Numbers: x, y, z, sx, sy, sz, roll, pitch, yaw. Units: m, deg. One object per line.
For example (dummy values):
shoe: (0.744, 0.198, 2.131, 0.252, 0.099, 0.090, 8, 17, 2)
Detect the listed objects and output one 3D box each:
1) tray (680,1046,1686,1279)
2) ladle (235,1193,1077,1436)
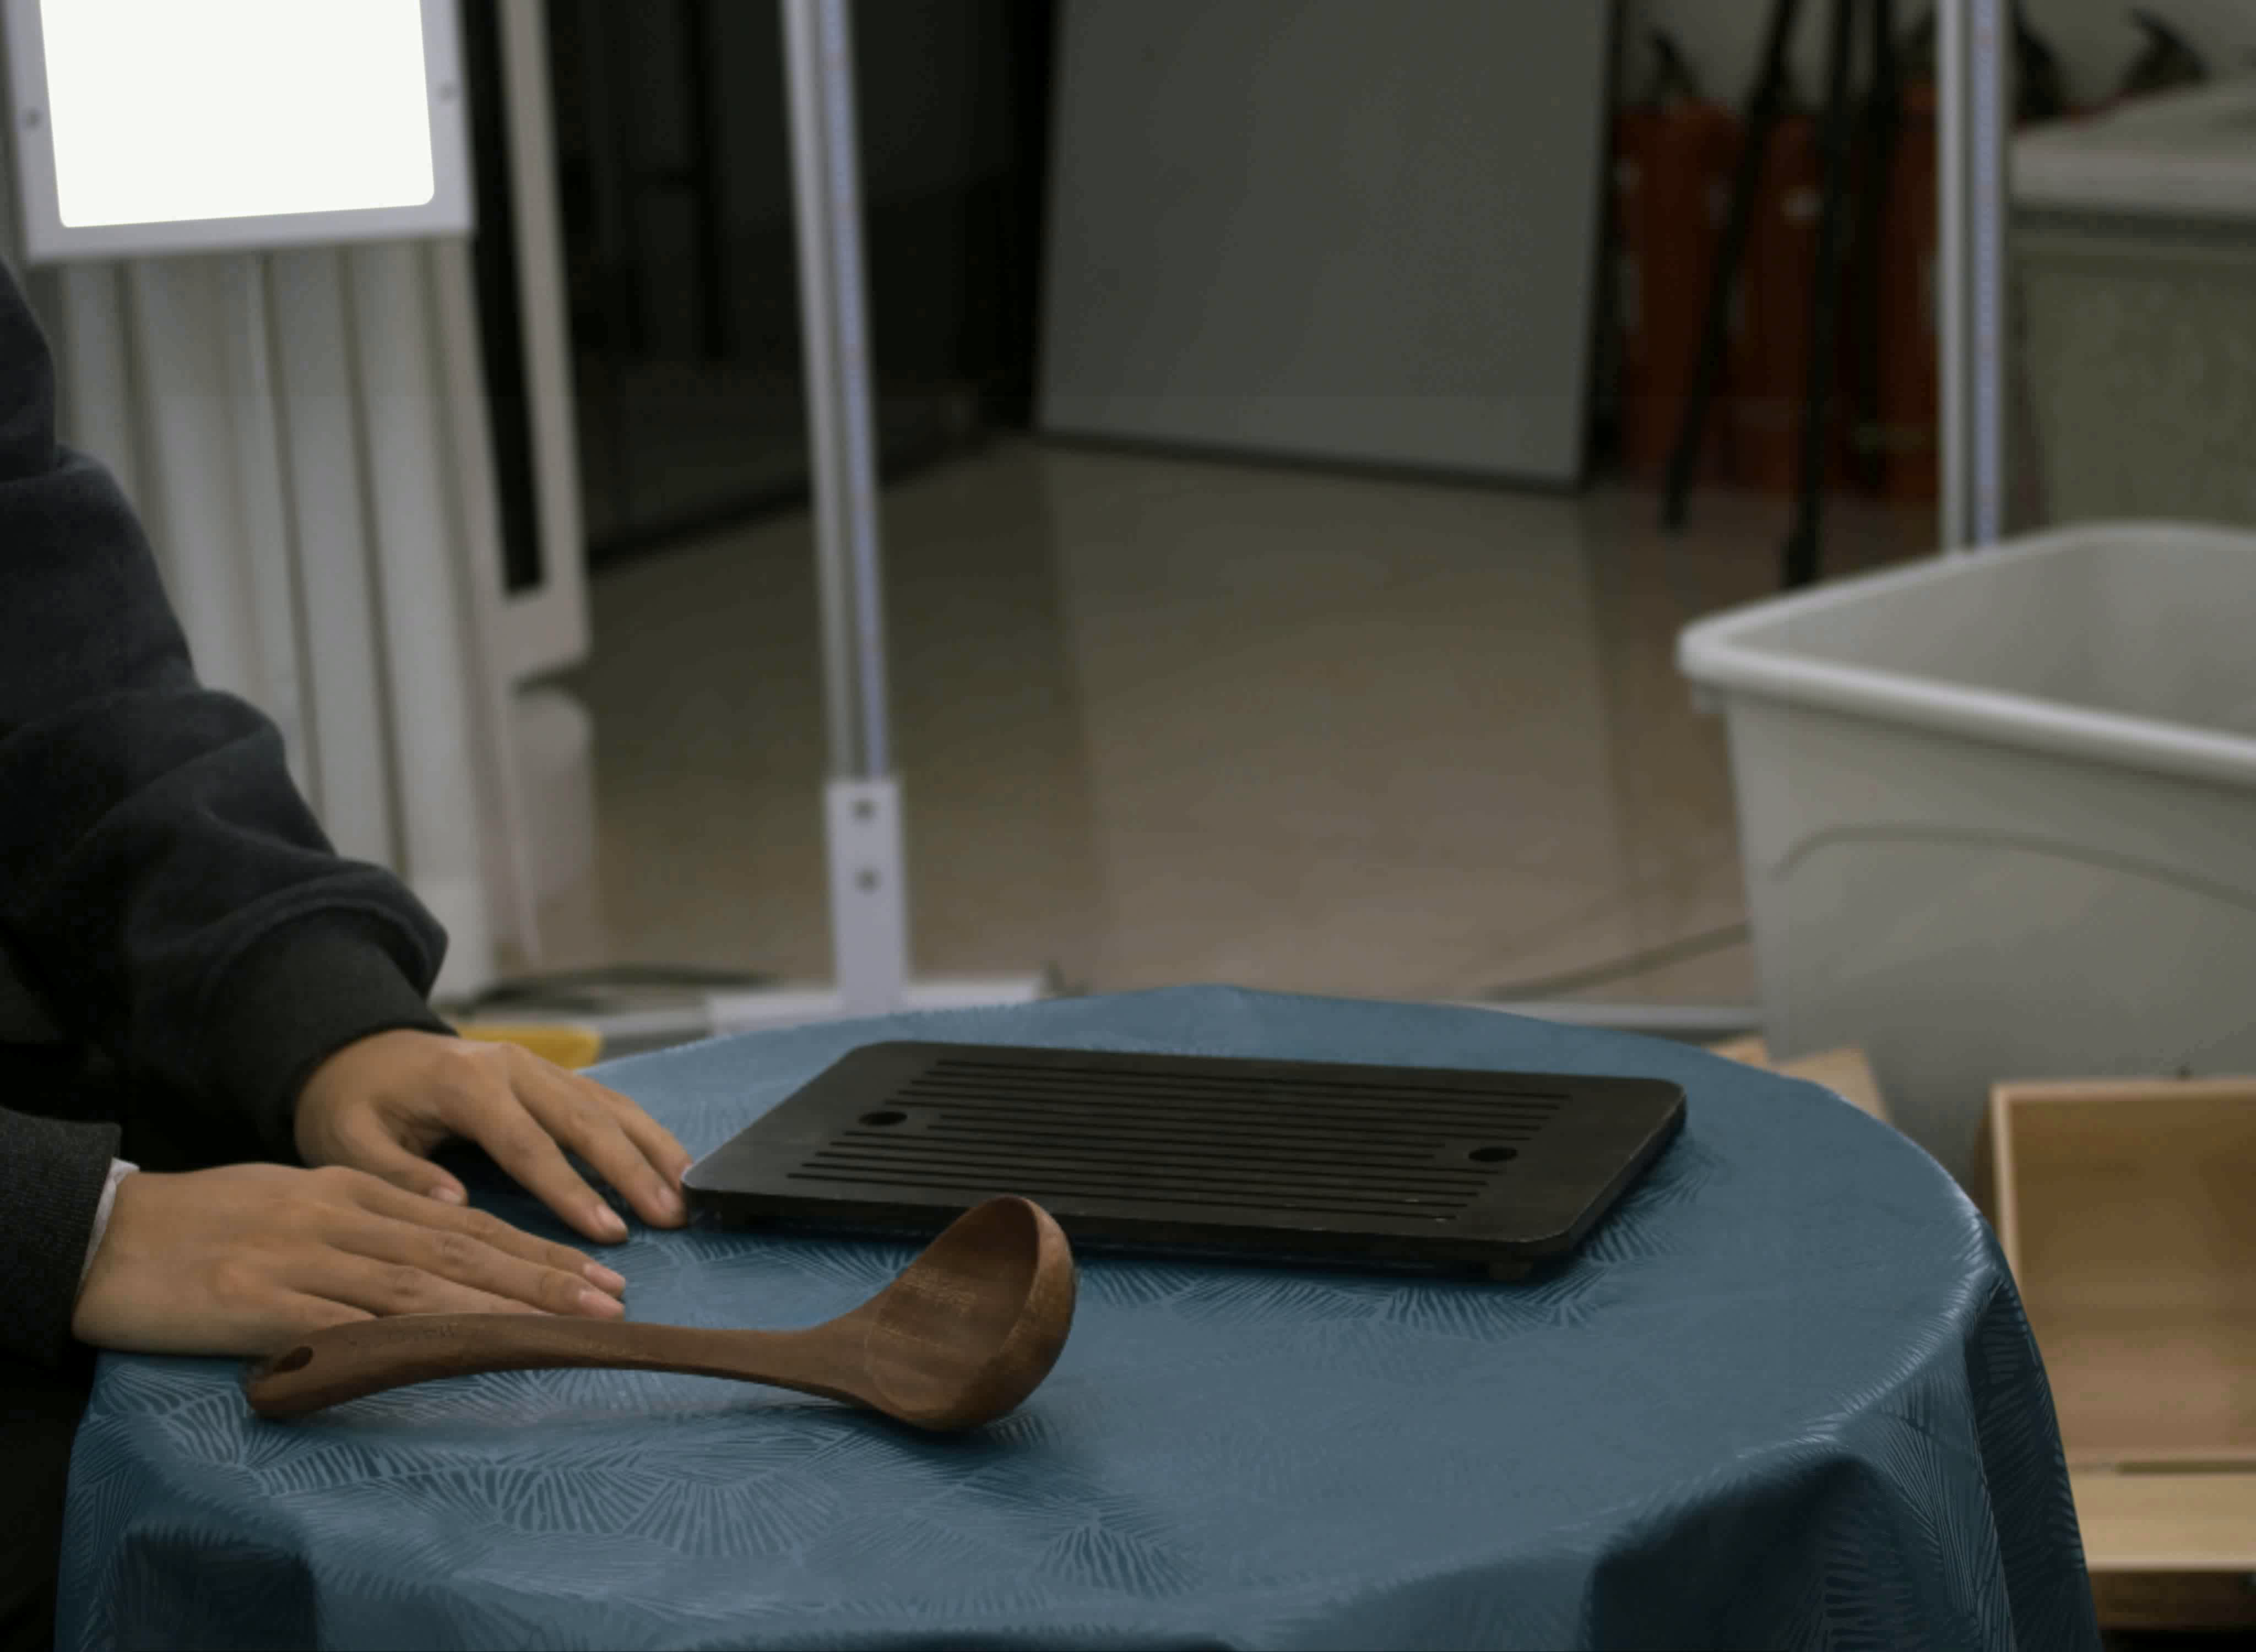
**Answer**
tray: (0.020, 0.109, 1.775, 0.306, 0.019, 0.168, 1, 15, 23)
ladle: (-0.140, 0.145, 1.579, 0.258, 0.065, 0.077, -1, 40, 9)
